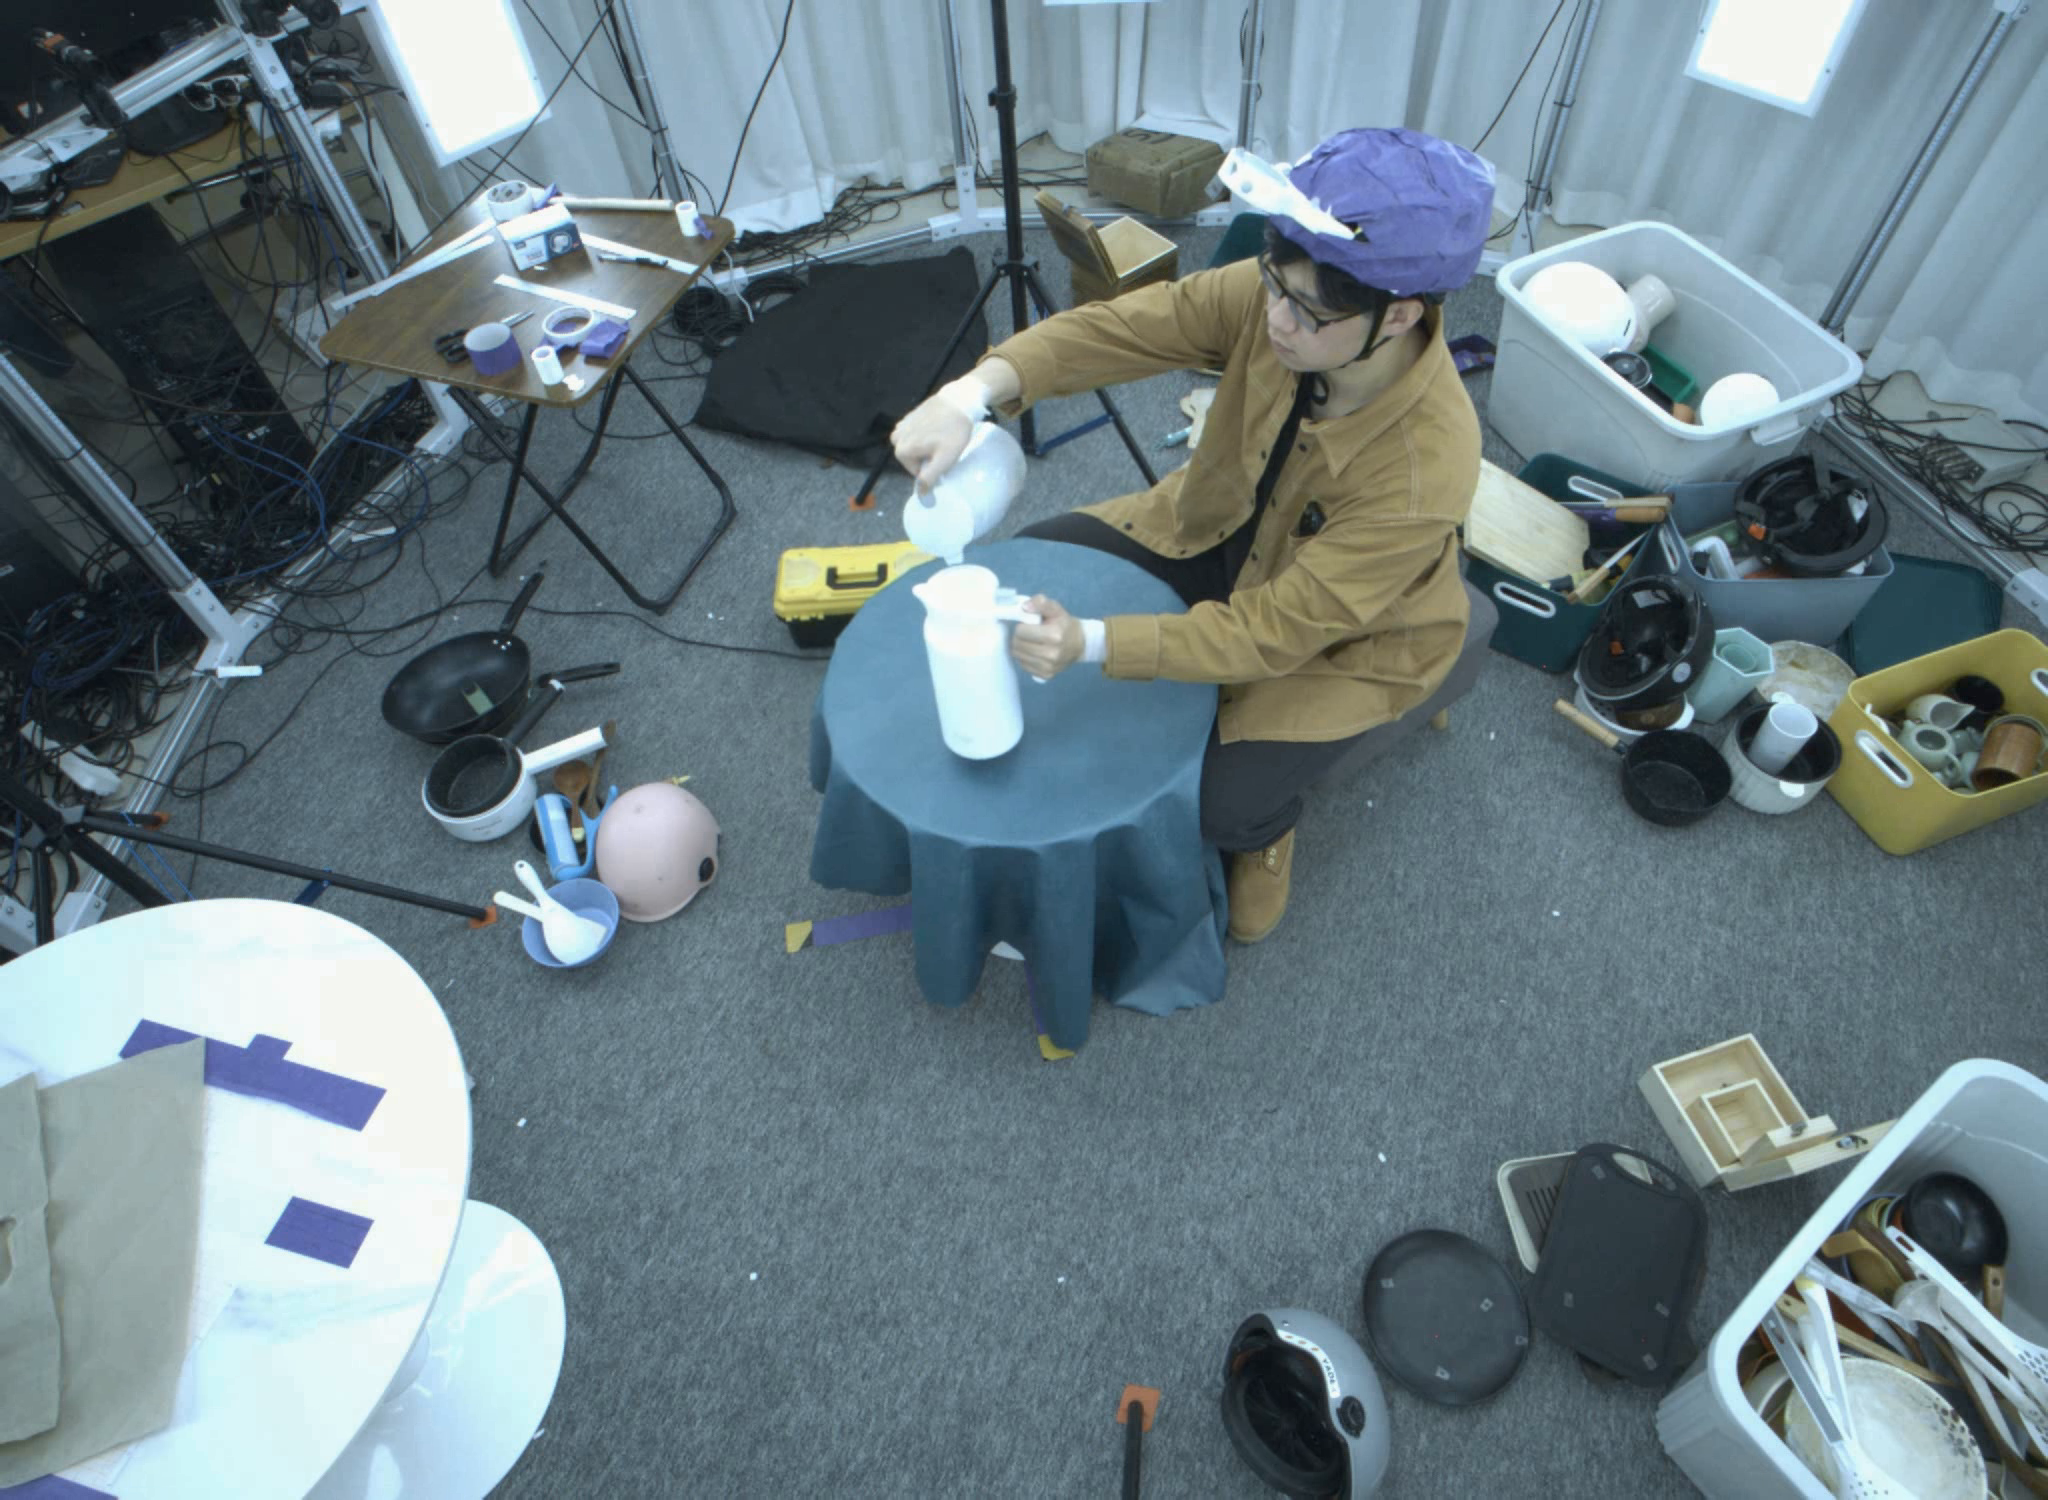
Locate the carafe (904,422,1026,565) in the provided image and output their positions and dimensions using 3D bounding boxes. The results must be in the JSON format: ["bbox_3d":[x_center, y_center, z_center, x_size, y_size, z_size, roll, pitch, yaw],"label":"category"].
[{"bbox_3d":[-0.092,-0.355,1.599,0.131,0.170,0.248,-9,28,17],"label":"carafe"}]

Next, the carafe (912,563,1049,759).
[{"bbox_3d":[-0.053,-0.117,1.666,0.171,0.272,0.123,6,45,12],"label":"carafe"}]
